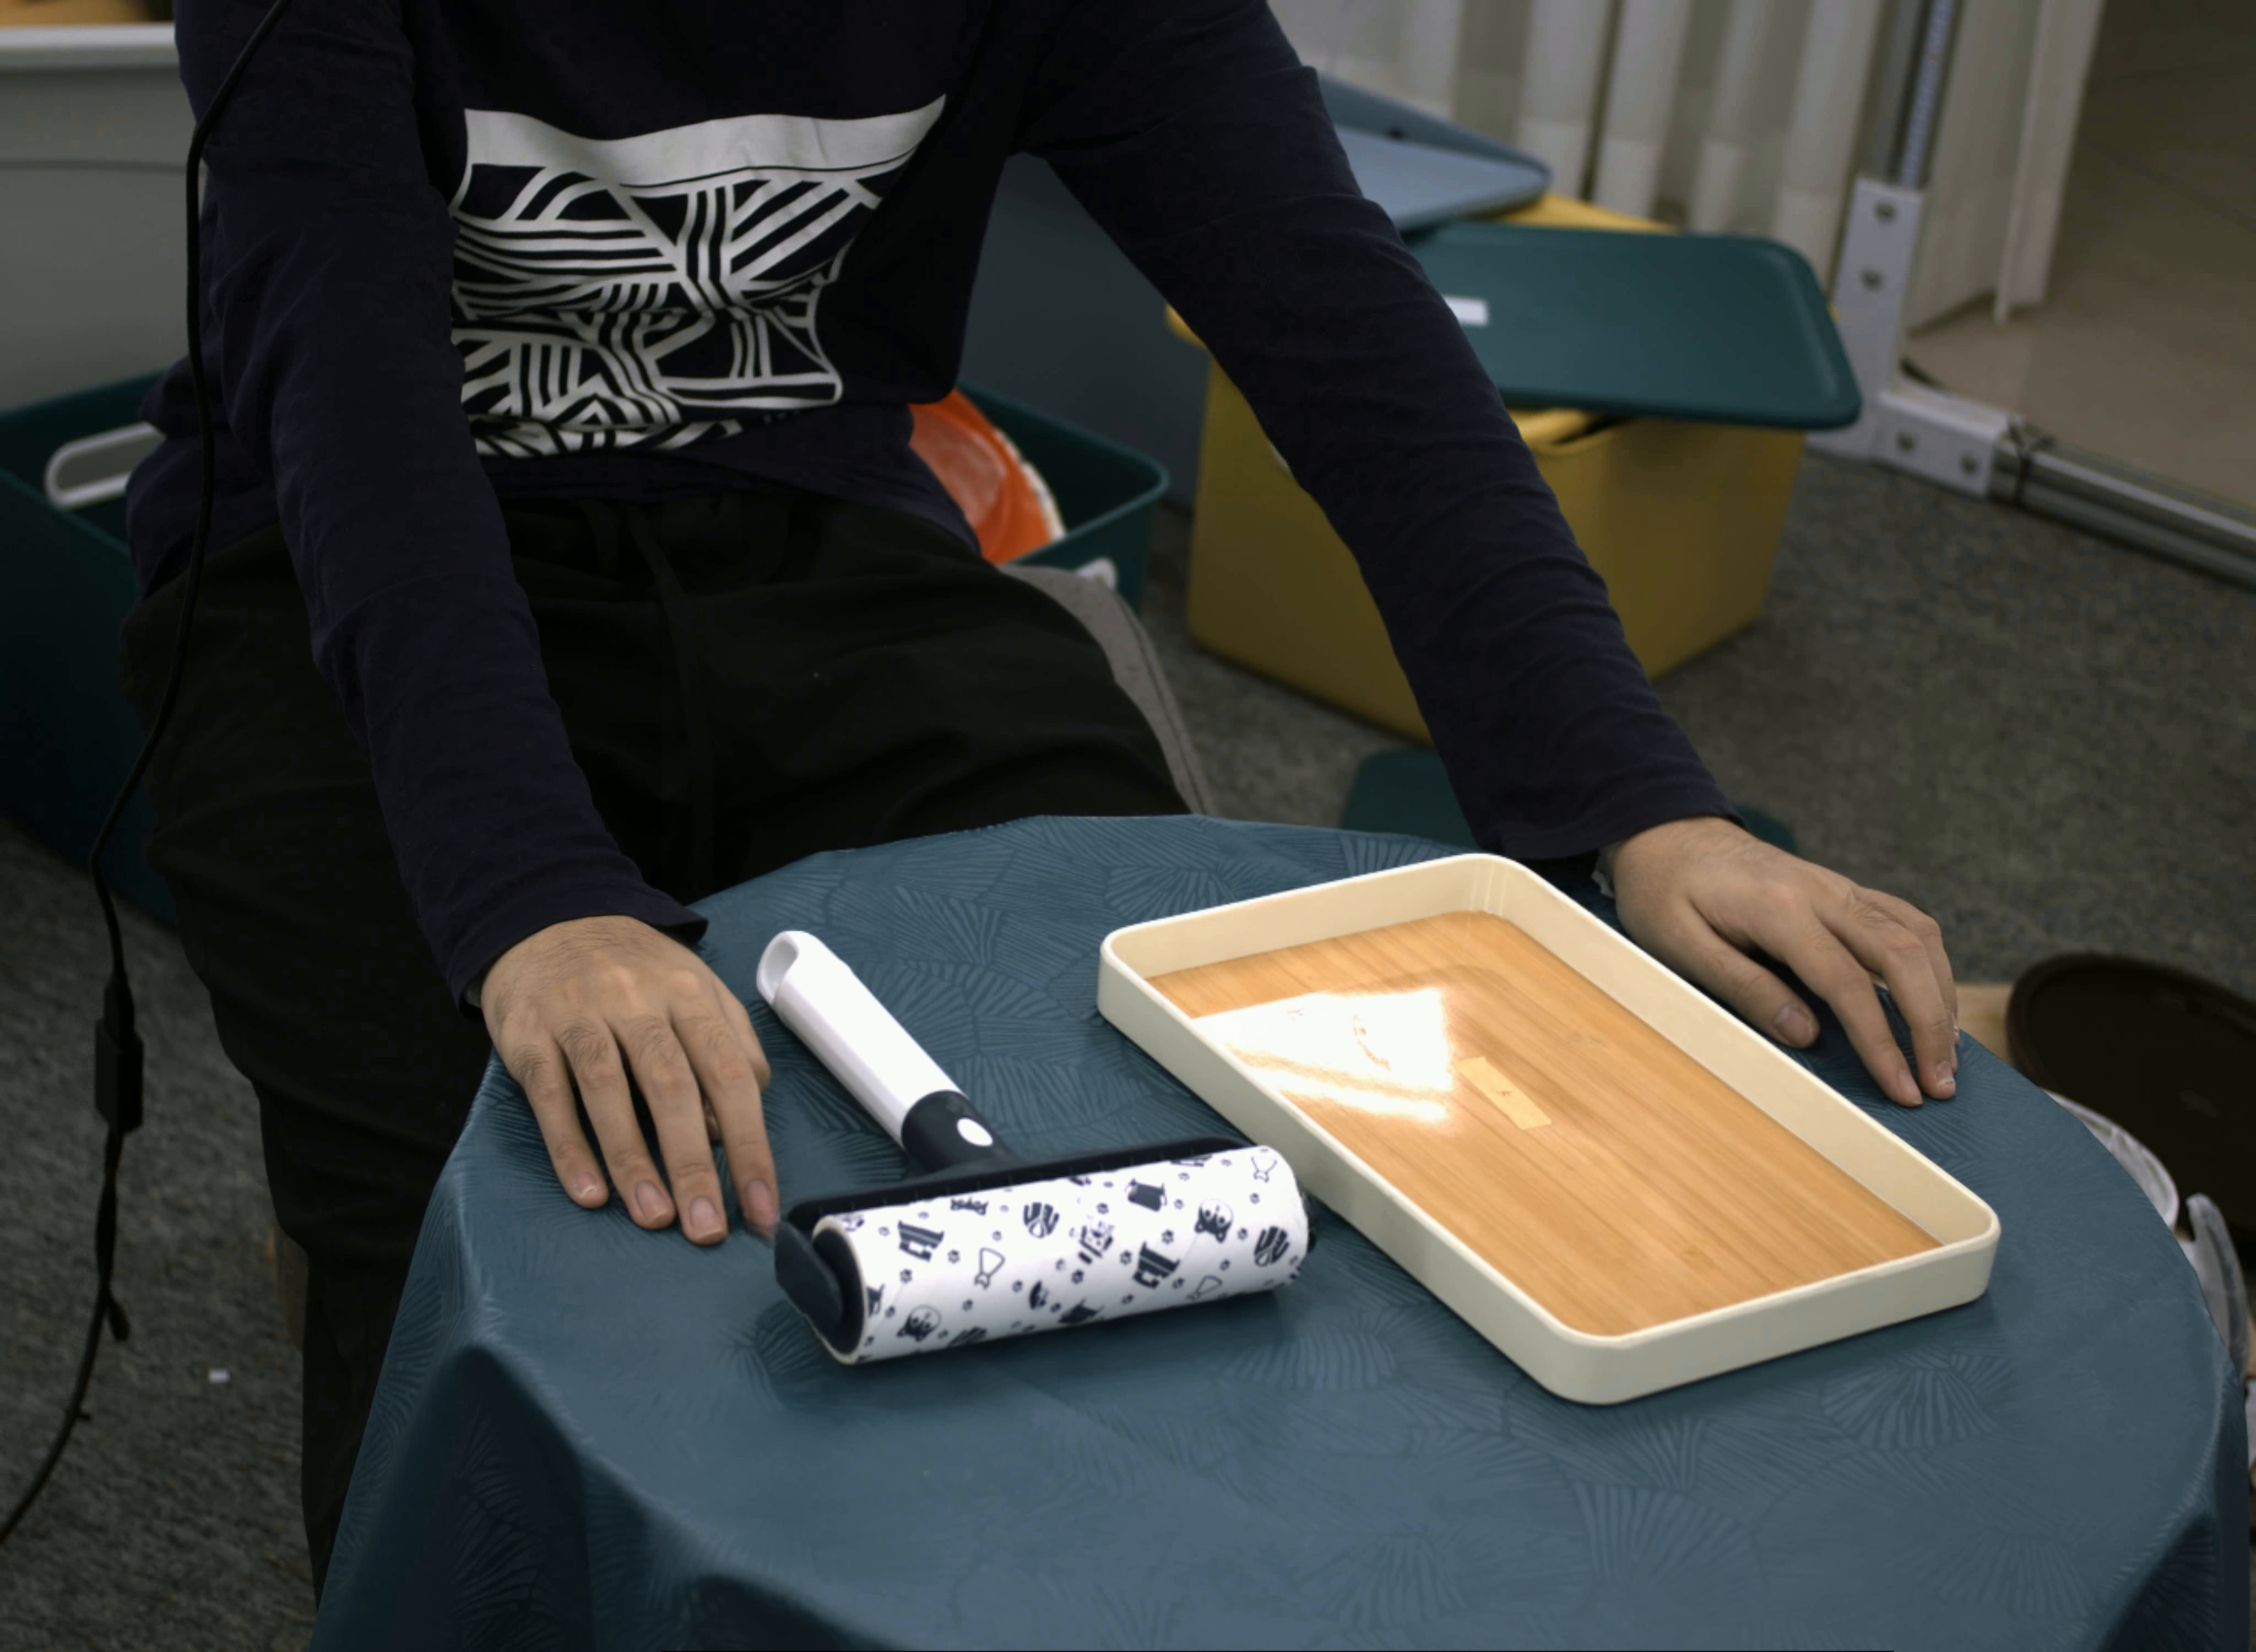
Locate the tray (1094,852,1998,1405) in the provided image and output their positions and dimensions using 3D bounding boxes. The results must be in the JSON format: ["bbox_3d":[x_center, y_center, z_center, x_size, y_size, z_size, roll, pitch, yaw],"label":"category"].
[{"bbox_3d":[0.140,0.099,1.856,0.190,0.027,0.303,-11,32,-31],"label":"tray"}]

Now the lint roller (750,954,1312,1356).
[{"bbox_3d":[-0.071,0.096,1.800,0.175,0.050,0.249,-9,28,-27],"label":"lint roller"}]
